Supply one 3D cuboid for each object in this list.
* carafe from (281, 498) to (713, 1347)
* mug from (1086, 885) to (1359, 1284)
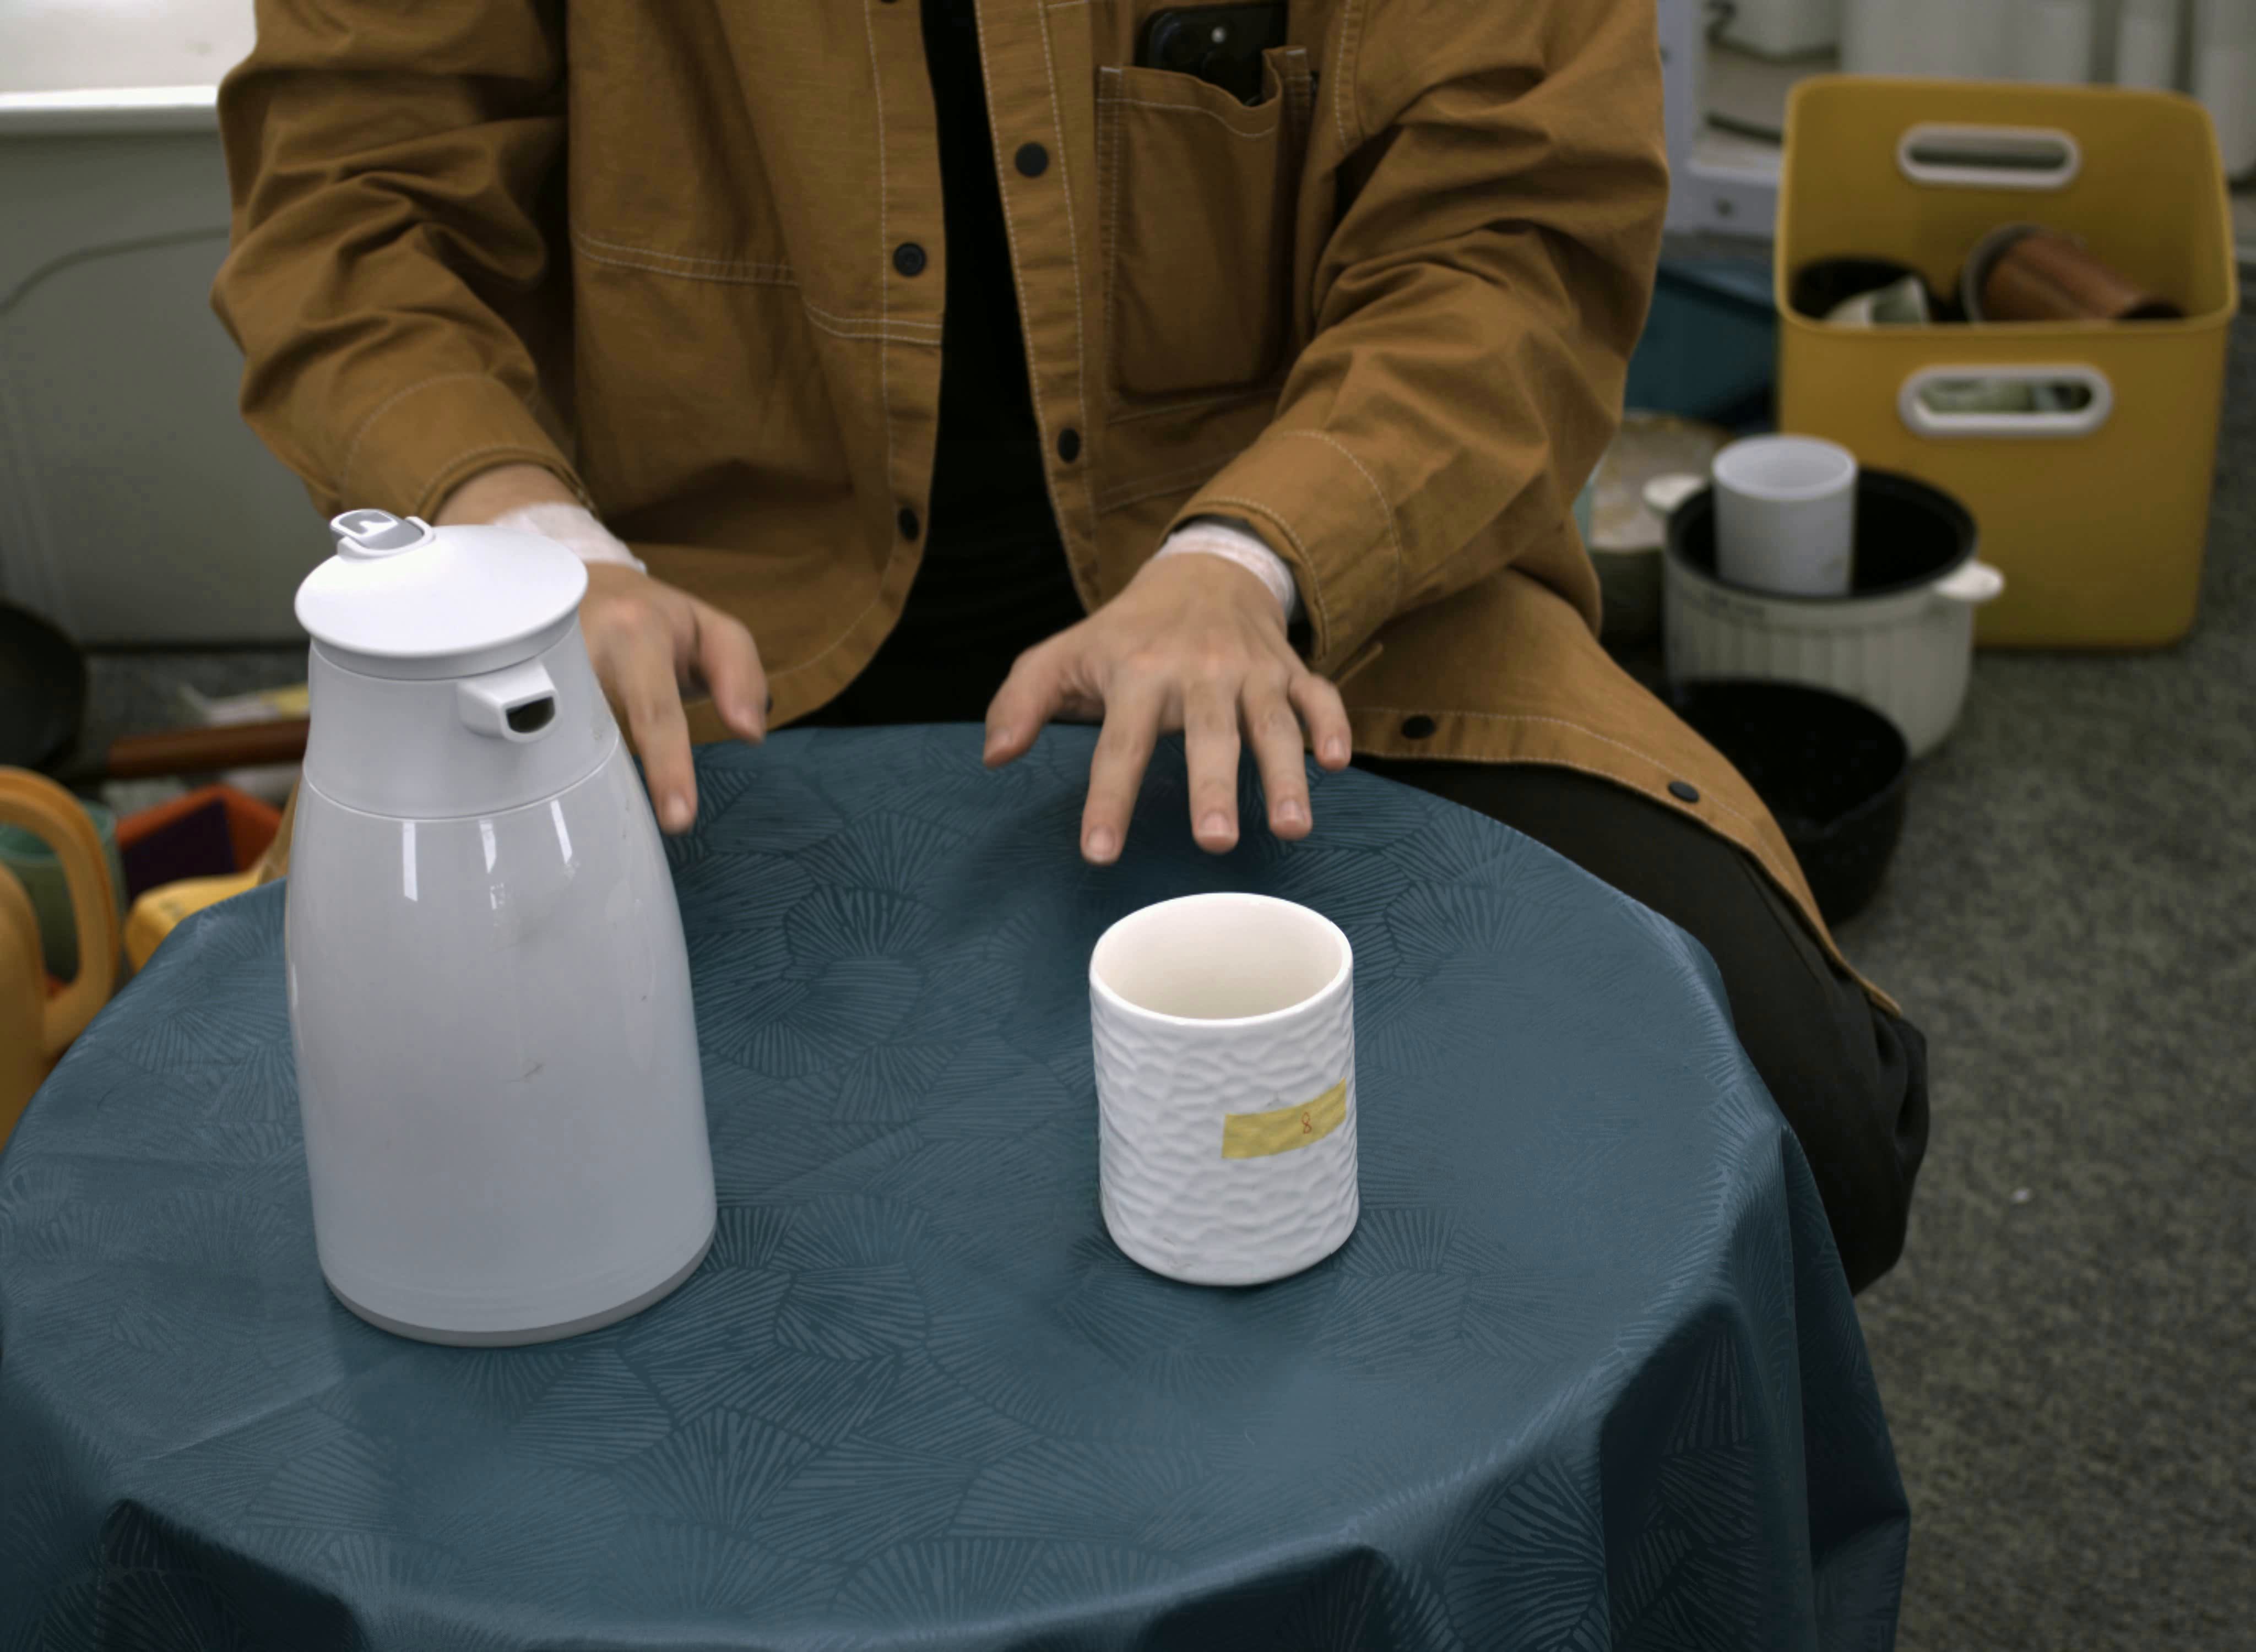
[{"bbox_3d":[-0.219,0.021,1.809,0.133,0.246,0.168,-19,30,-27],"label":"carafe"},{"bbox_3d":[0.028,0.077,1.828,0.085,0.101,0.120,-8,29,-9],"label":"mug"}]
